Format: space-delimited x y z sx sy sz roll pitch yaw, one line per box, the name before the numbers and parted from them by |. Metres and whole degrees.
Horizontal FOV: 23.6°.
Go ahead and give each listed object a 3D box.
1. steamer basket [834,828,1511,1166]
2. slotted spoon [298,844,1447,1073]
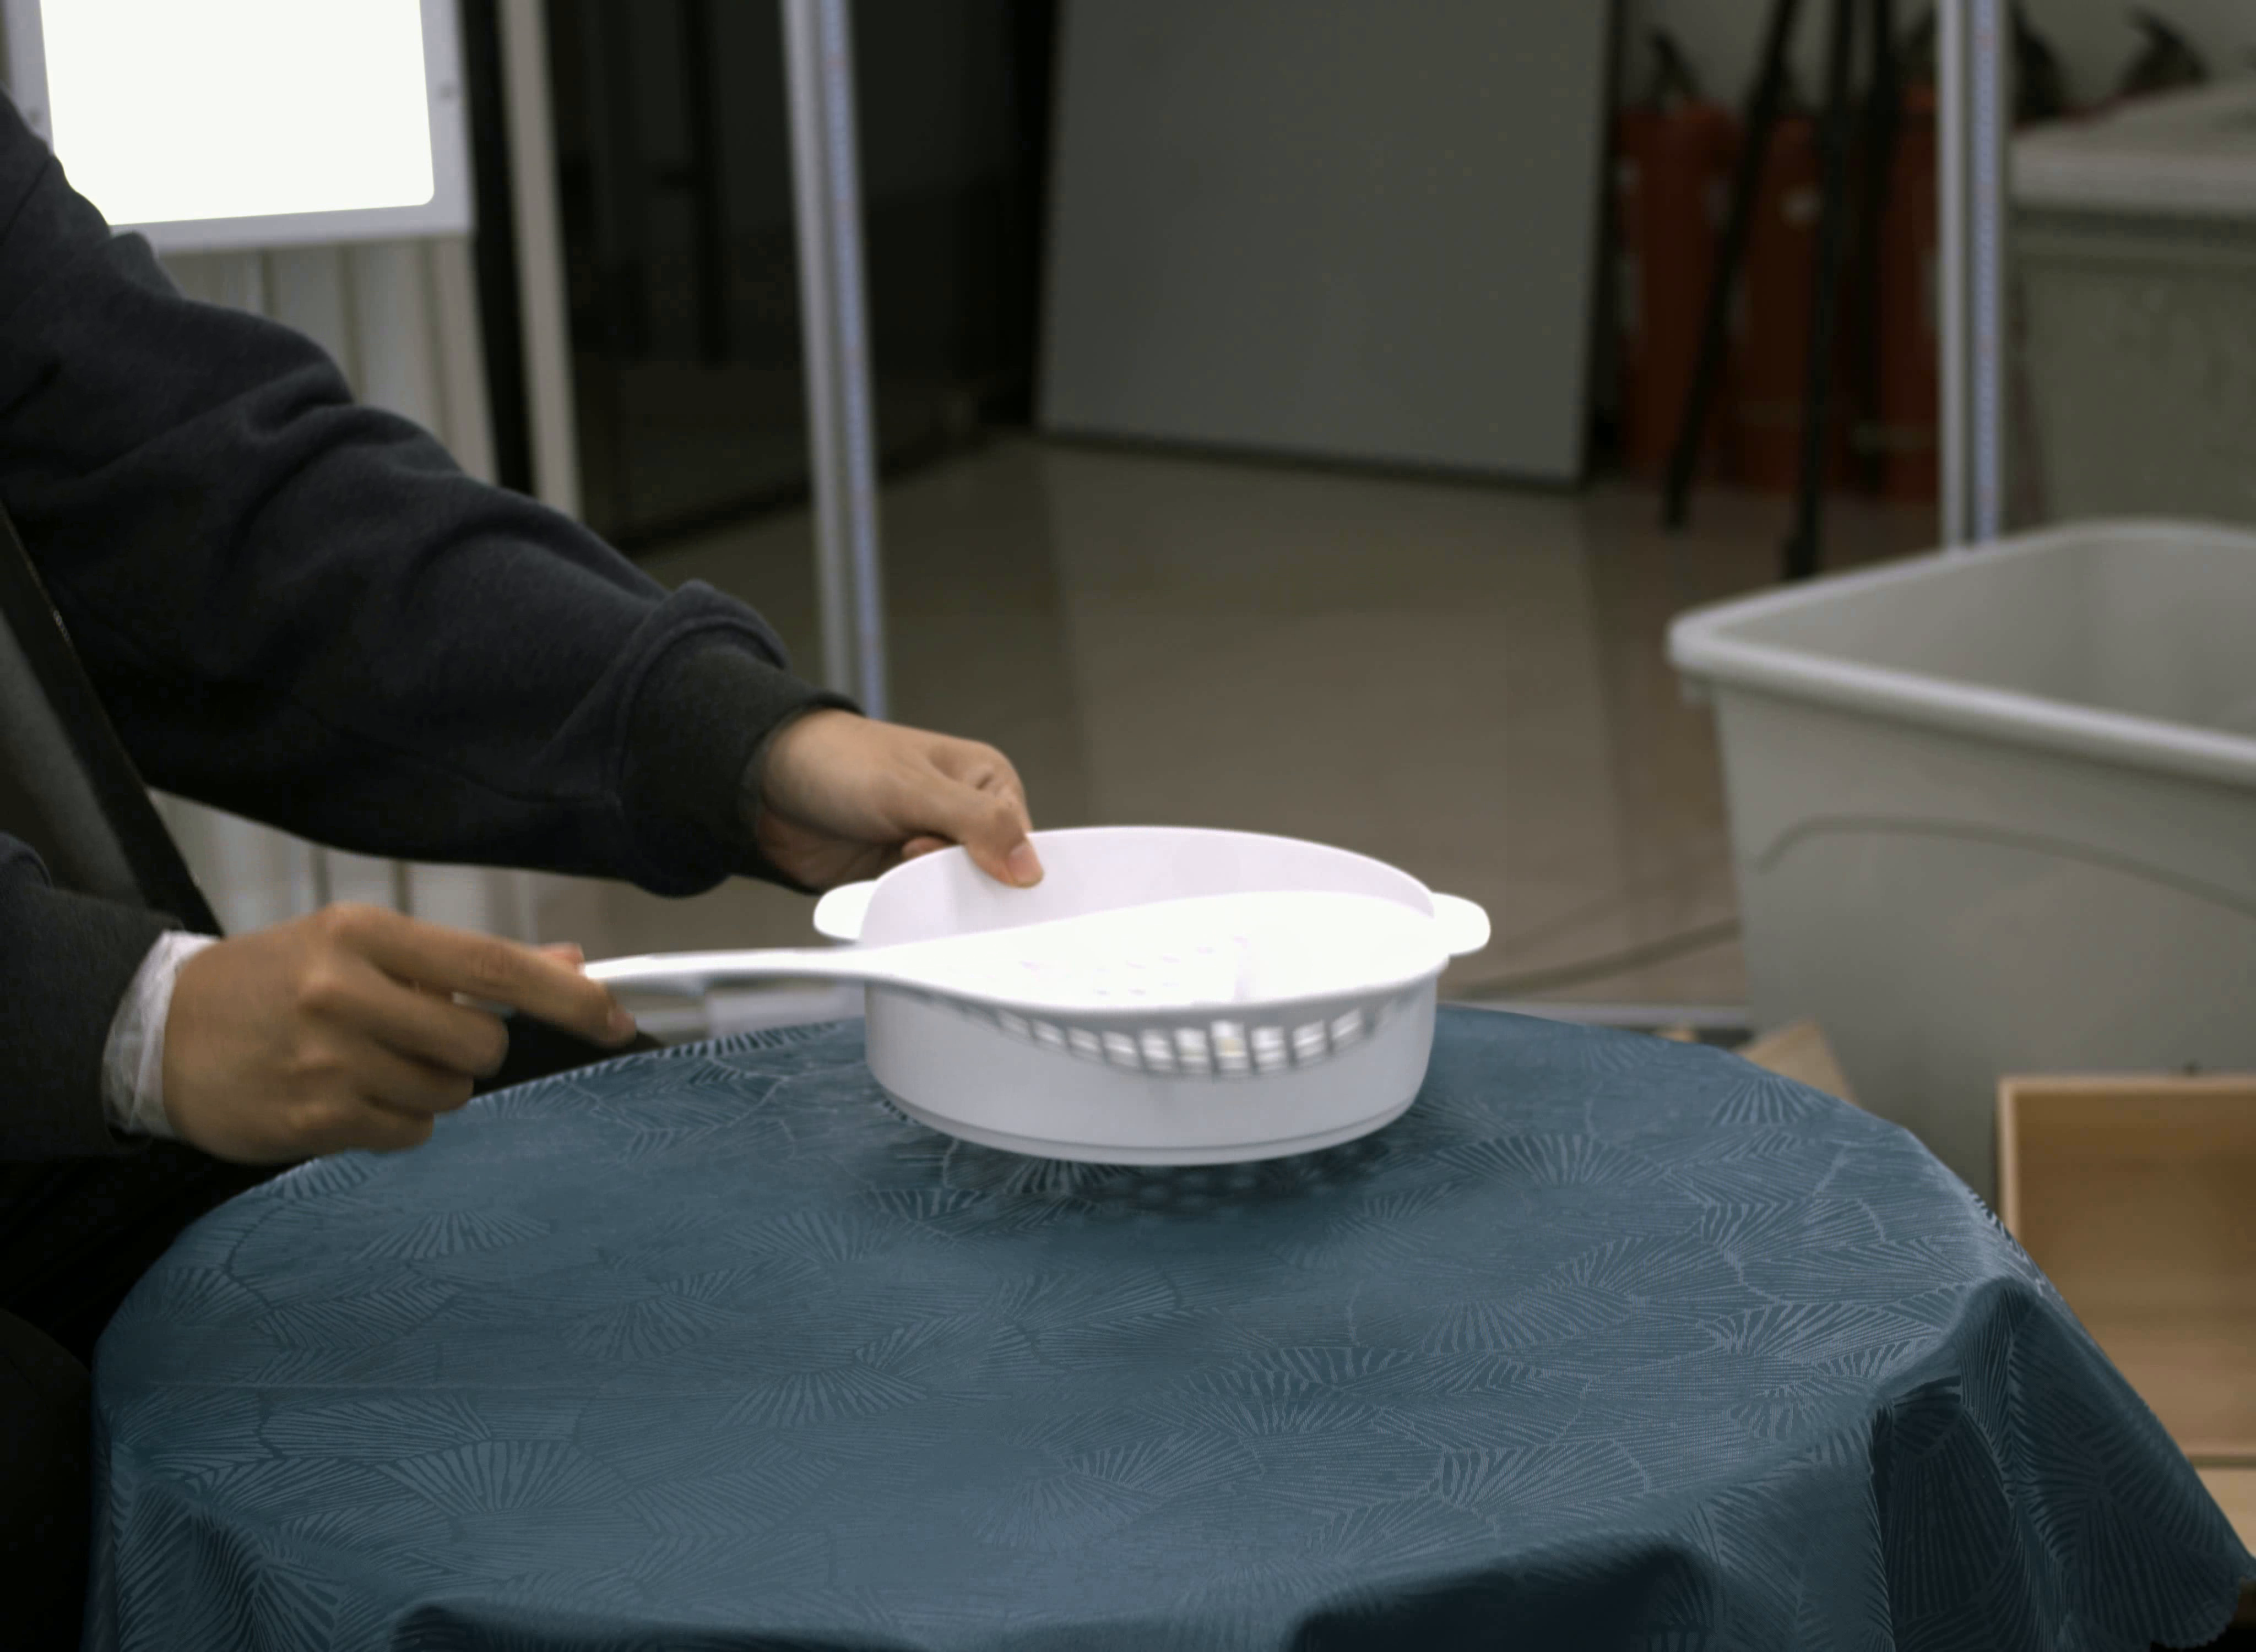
steamer basket | 0.014 0.057 1.818 0.228 0.070 0.202 4 14 2
slotted spoon | -0.076 0.046 1.615 0.344 0.051 0.137 -1 14 3
